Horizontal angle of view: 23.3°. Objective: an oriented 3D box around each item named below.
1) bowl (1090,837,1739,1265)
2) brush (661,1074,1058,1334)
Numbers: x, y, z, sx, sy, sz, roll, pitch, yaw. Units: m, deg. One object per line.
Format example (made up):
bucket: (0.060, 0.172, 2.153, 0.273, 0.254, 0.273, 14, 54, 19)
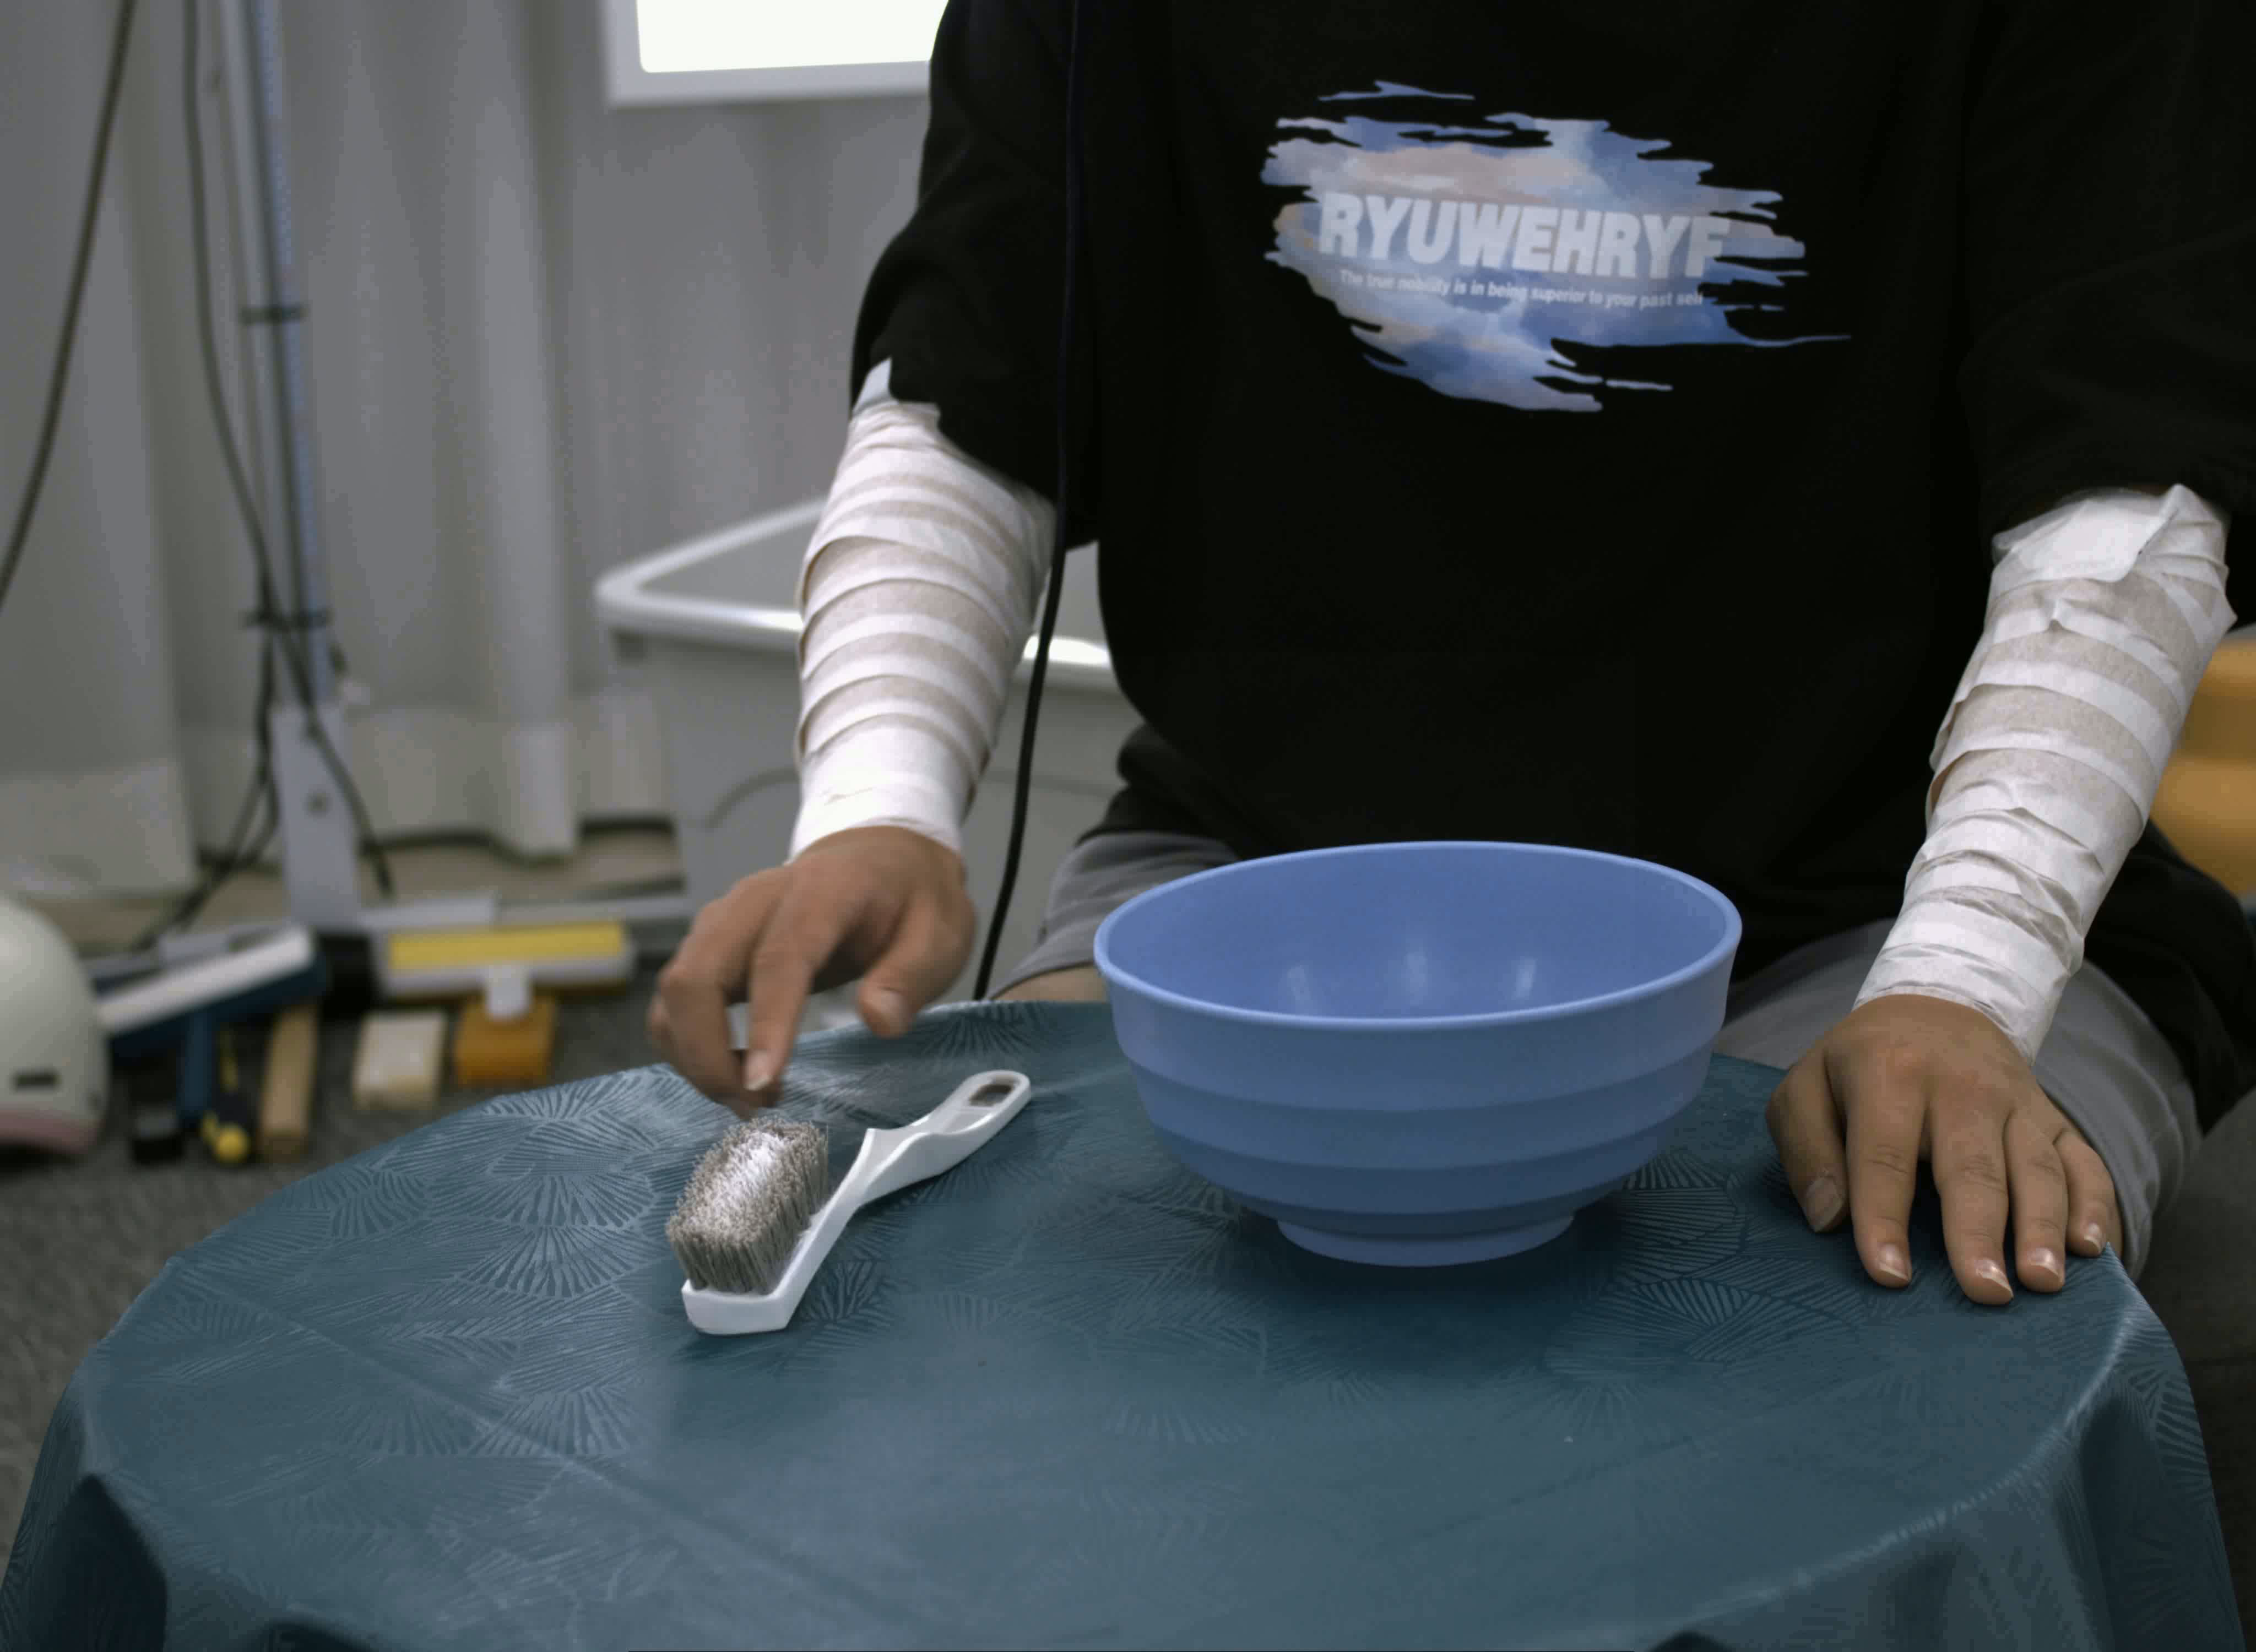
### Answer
bowl: (0.089, 0.074, 1.662, 0.196, 0.095, 0.198, -4, 15, 1)
brush: (-0.078, 0.097, 1.697, 0.034, 0.050, 0.244, 0, 15, 23)
